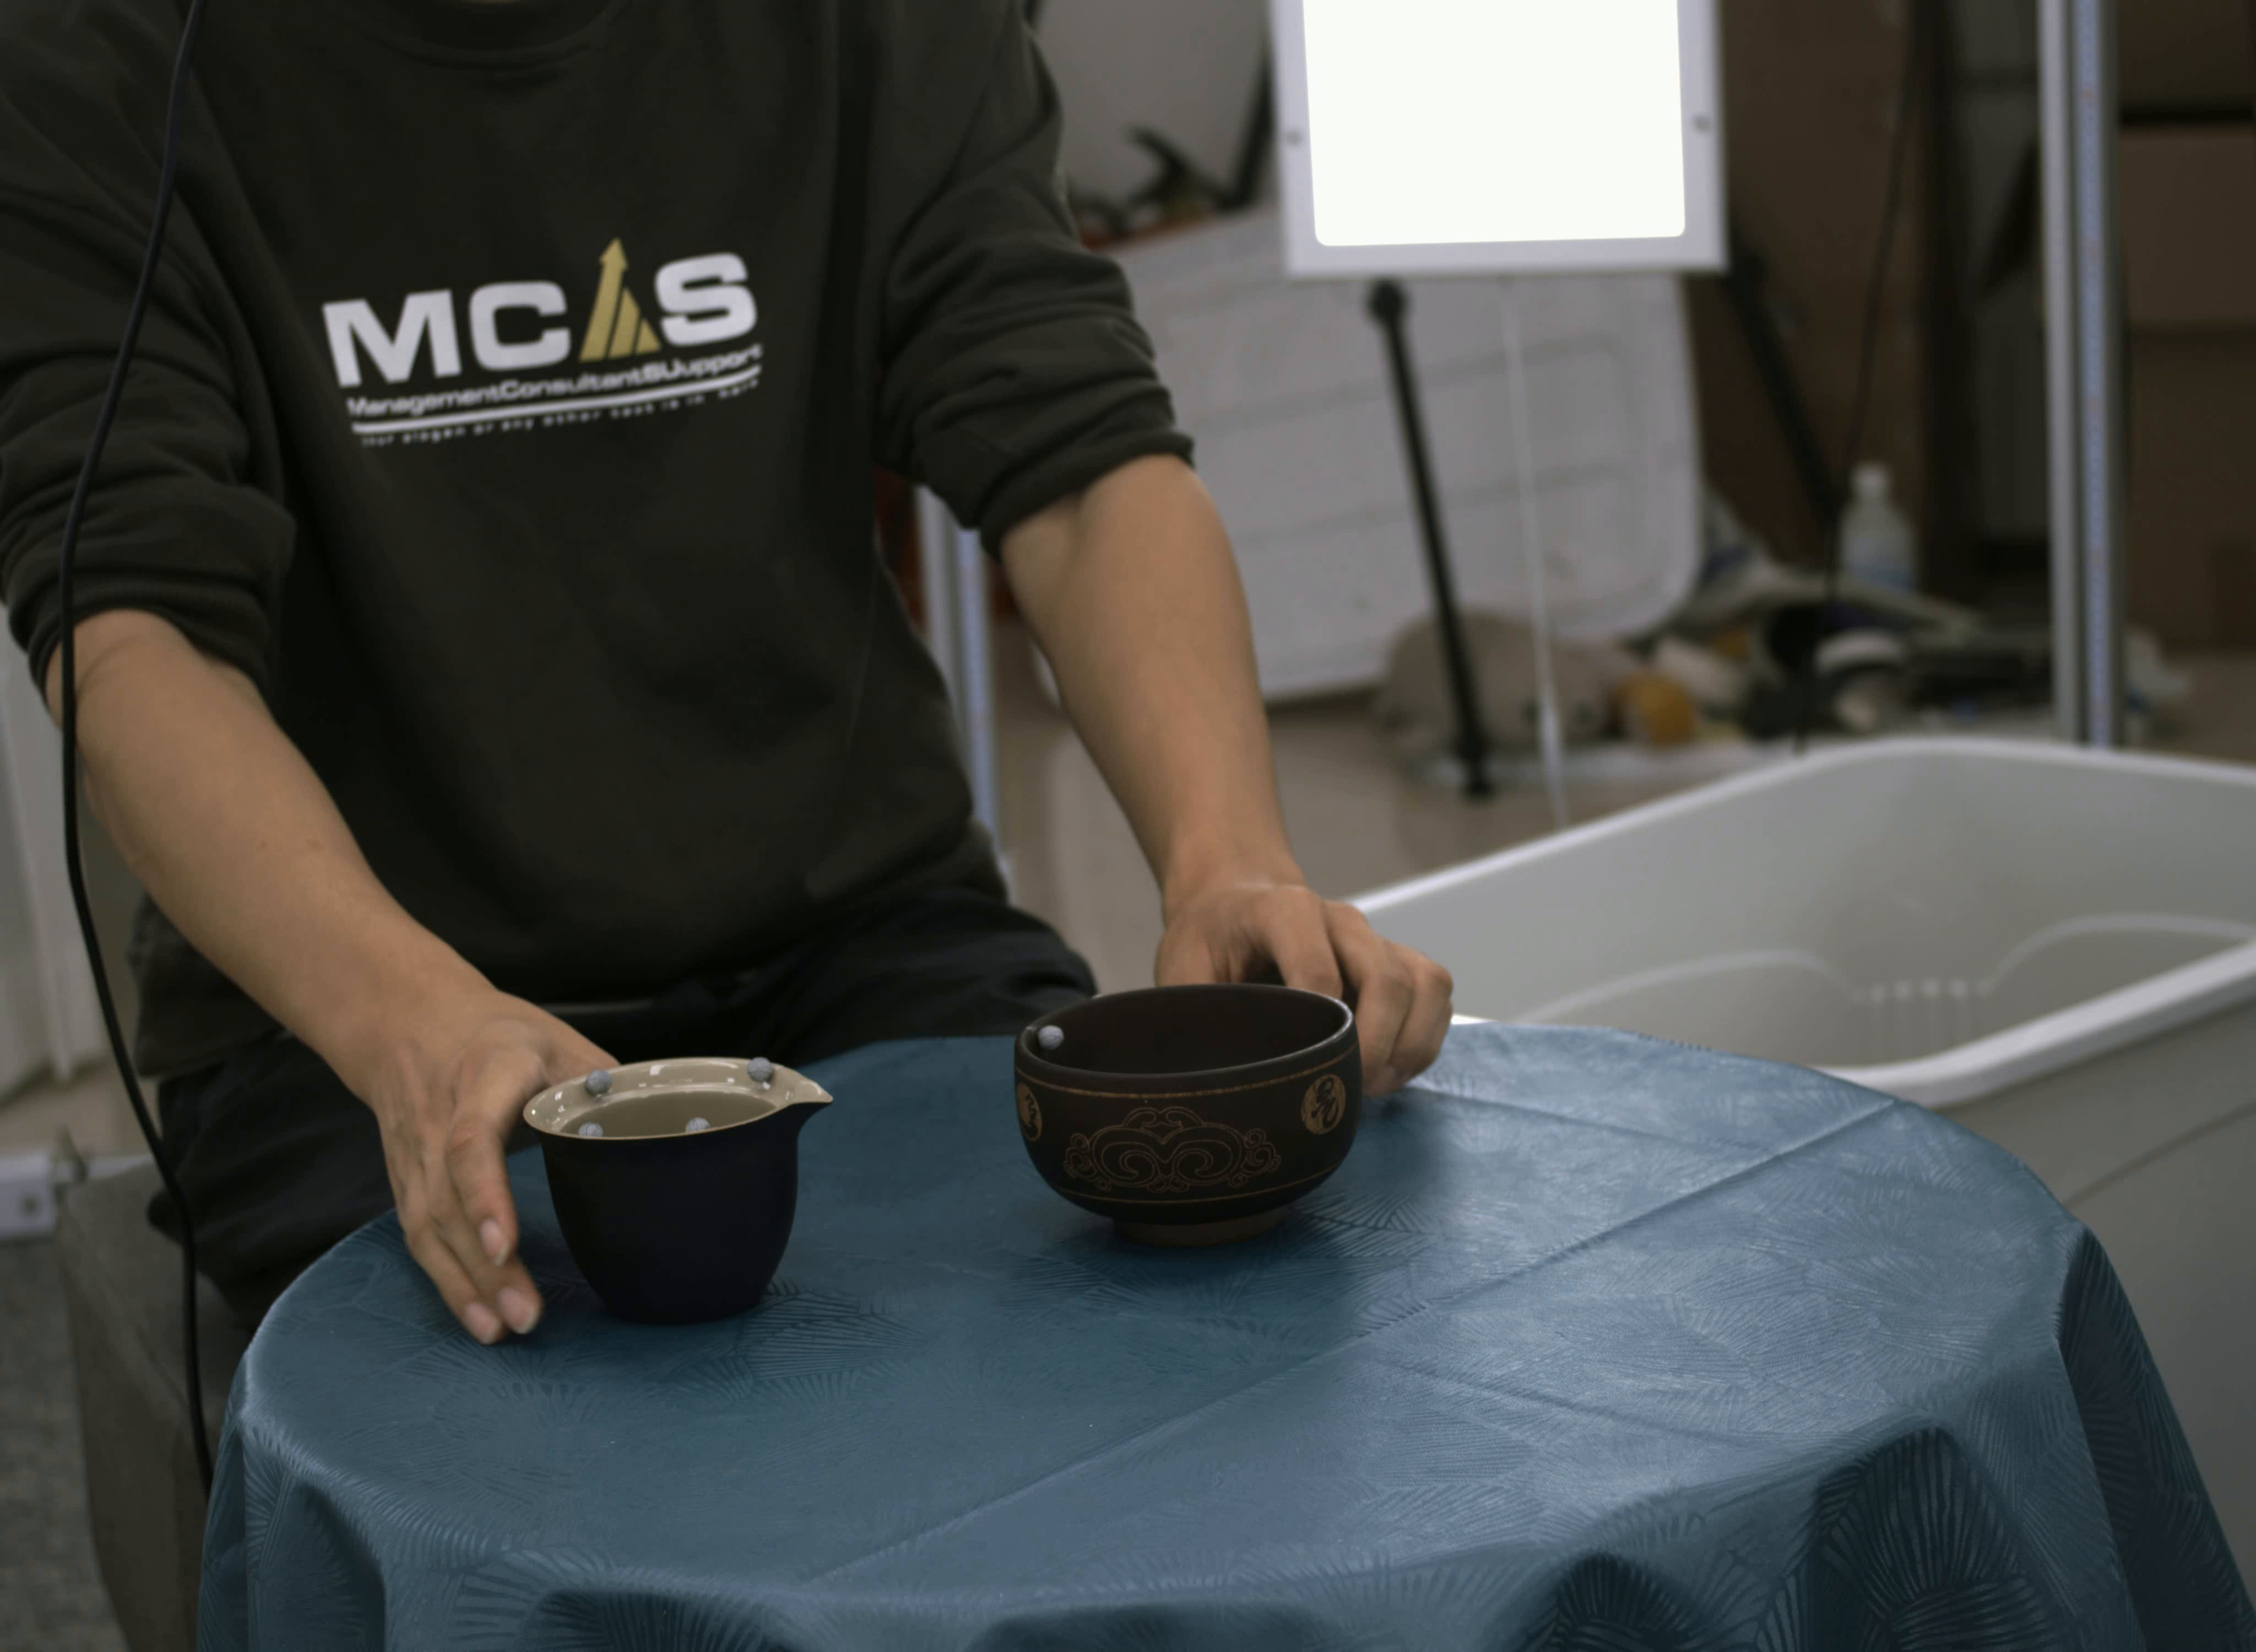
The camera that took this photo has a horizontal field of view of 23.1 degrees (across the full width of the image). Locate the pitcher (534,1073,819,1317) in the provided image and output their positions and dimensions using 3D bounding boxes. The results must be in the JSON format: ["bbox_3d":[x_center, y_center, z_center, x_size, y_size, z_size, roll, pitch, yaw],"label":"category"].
[{"bbox_3d":[-0.145,0.120,1.818,0.097,0.071,0.082,-2,12,14],"label":"pitcher"}]

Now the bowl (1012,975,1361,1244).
[{"bbox_3d":[0.021,0.099,1.854,0.118,0.070,0.118,-5,16,0],"label":"bowl"}]
